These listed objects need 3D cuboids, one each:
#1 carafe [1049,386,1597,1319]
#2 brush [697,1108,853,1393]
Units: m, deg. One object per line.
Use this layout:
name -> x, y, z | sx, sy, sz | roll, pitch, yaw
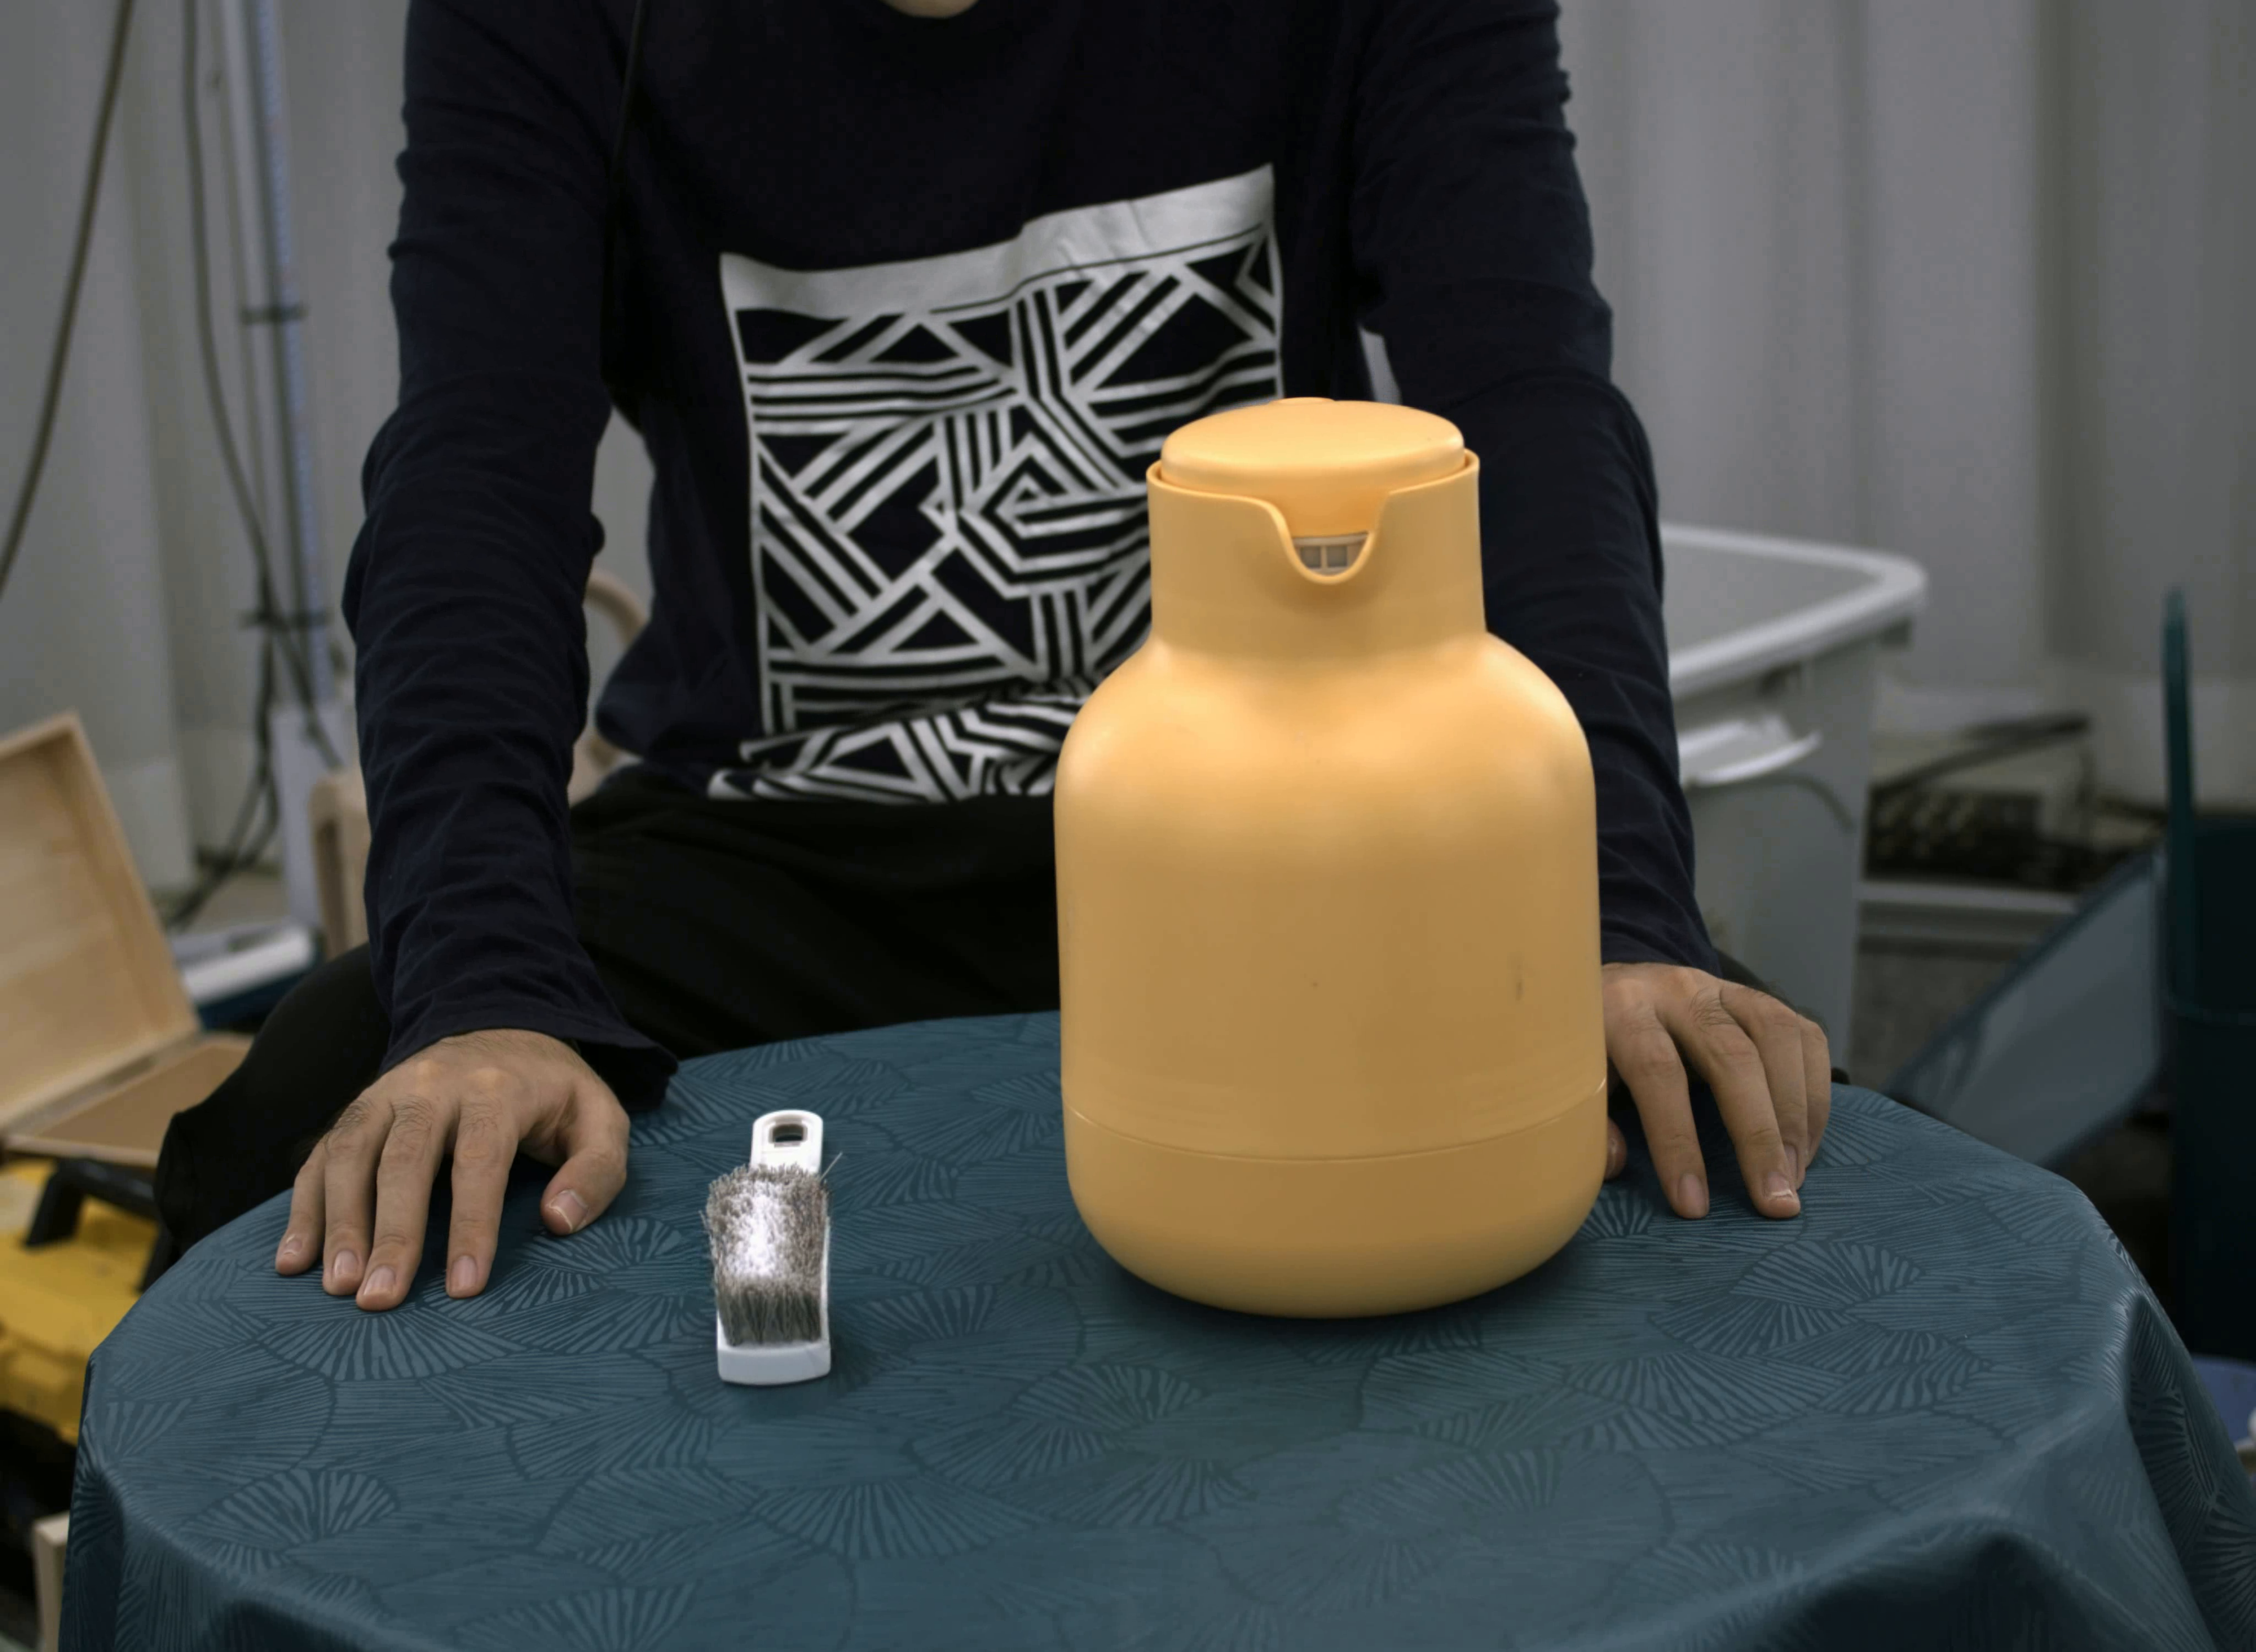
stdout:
carafe -> 0.058, -0.001, 1.633 | 0.163, 0.259, 0.204 | 0, 15, 0
brush -> -0.104, 0.109, 1.664 | 0.034, 0.050, 0.245 | -6, 15, 2
